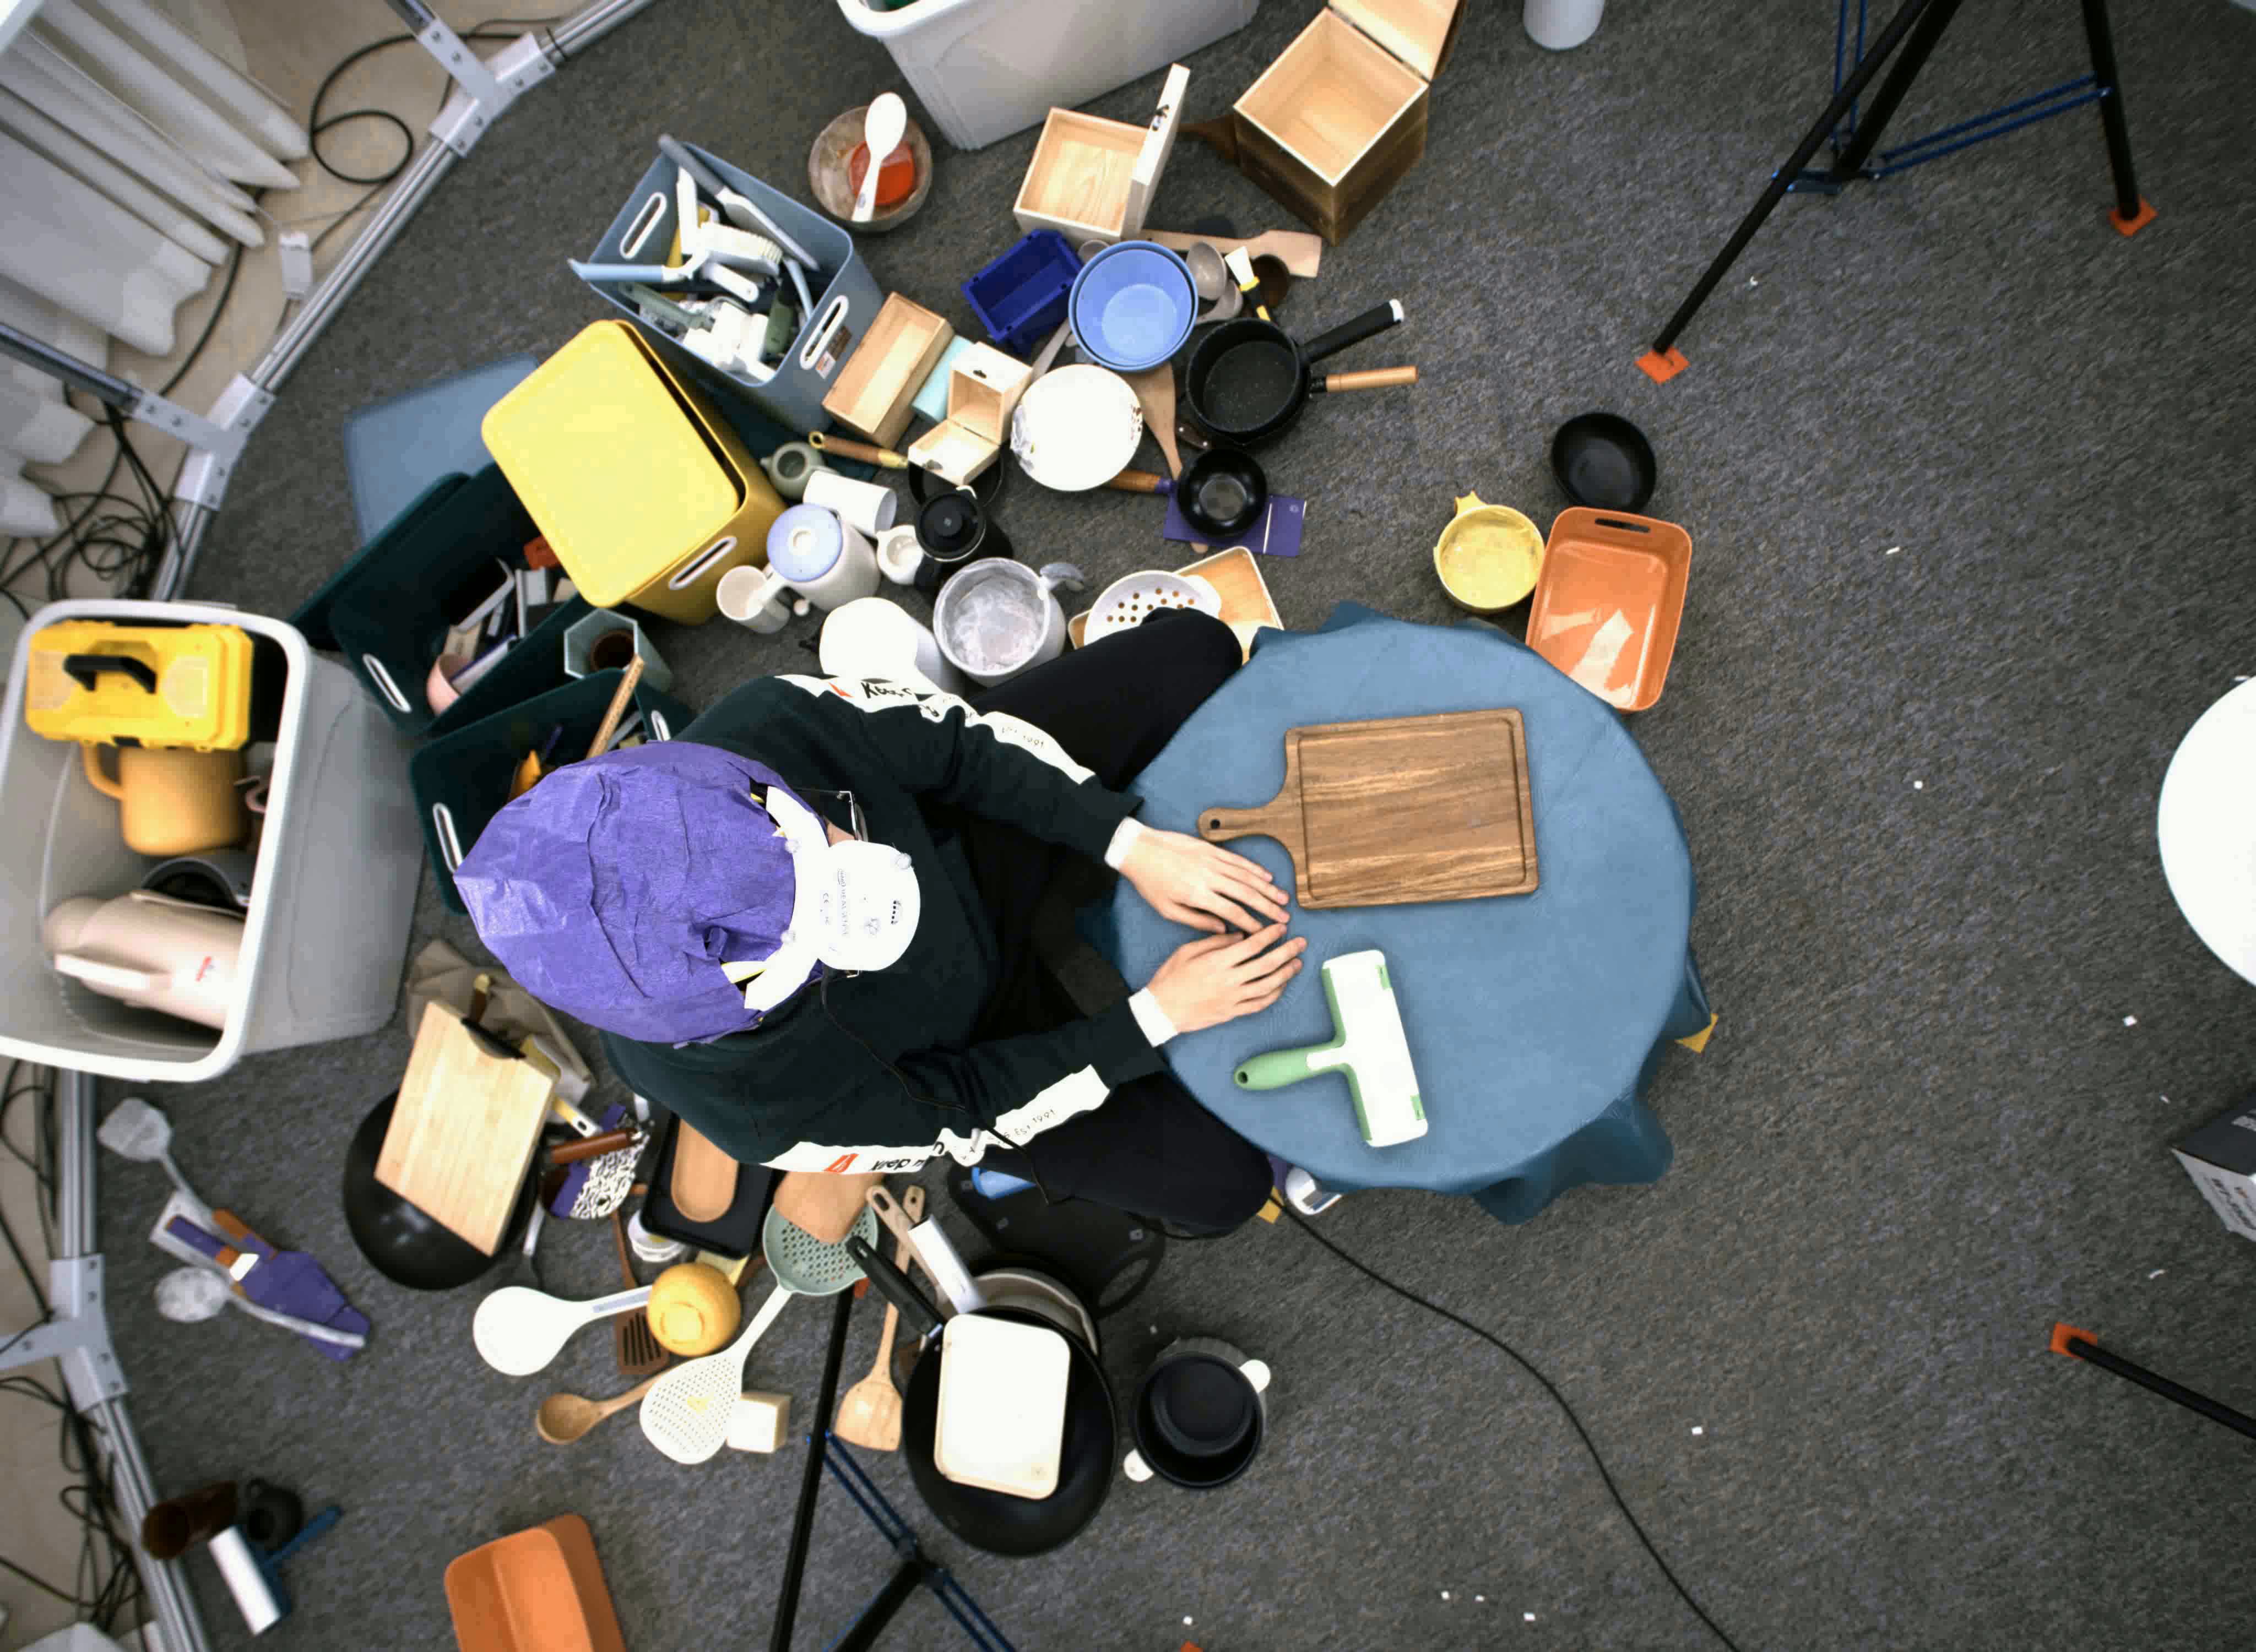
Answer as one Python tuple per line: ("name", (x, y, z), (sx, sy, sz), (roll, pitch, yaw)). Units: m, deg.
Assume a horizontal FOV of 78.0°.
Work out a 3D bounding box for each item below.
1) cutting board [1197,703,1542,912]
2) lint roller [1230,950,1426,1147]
("cutting board", (0.247, -0.015, 1.454), (0.354, 0.023, 0.200), (-5, 86, 10))
("lint roller", (0.194, 0.240, 1.422), (0.184, 0.082, 0.197), (-14, 85, 5))
